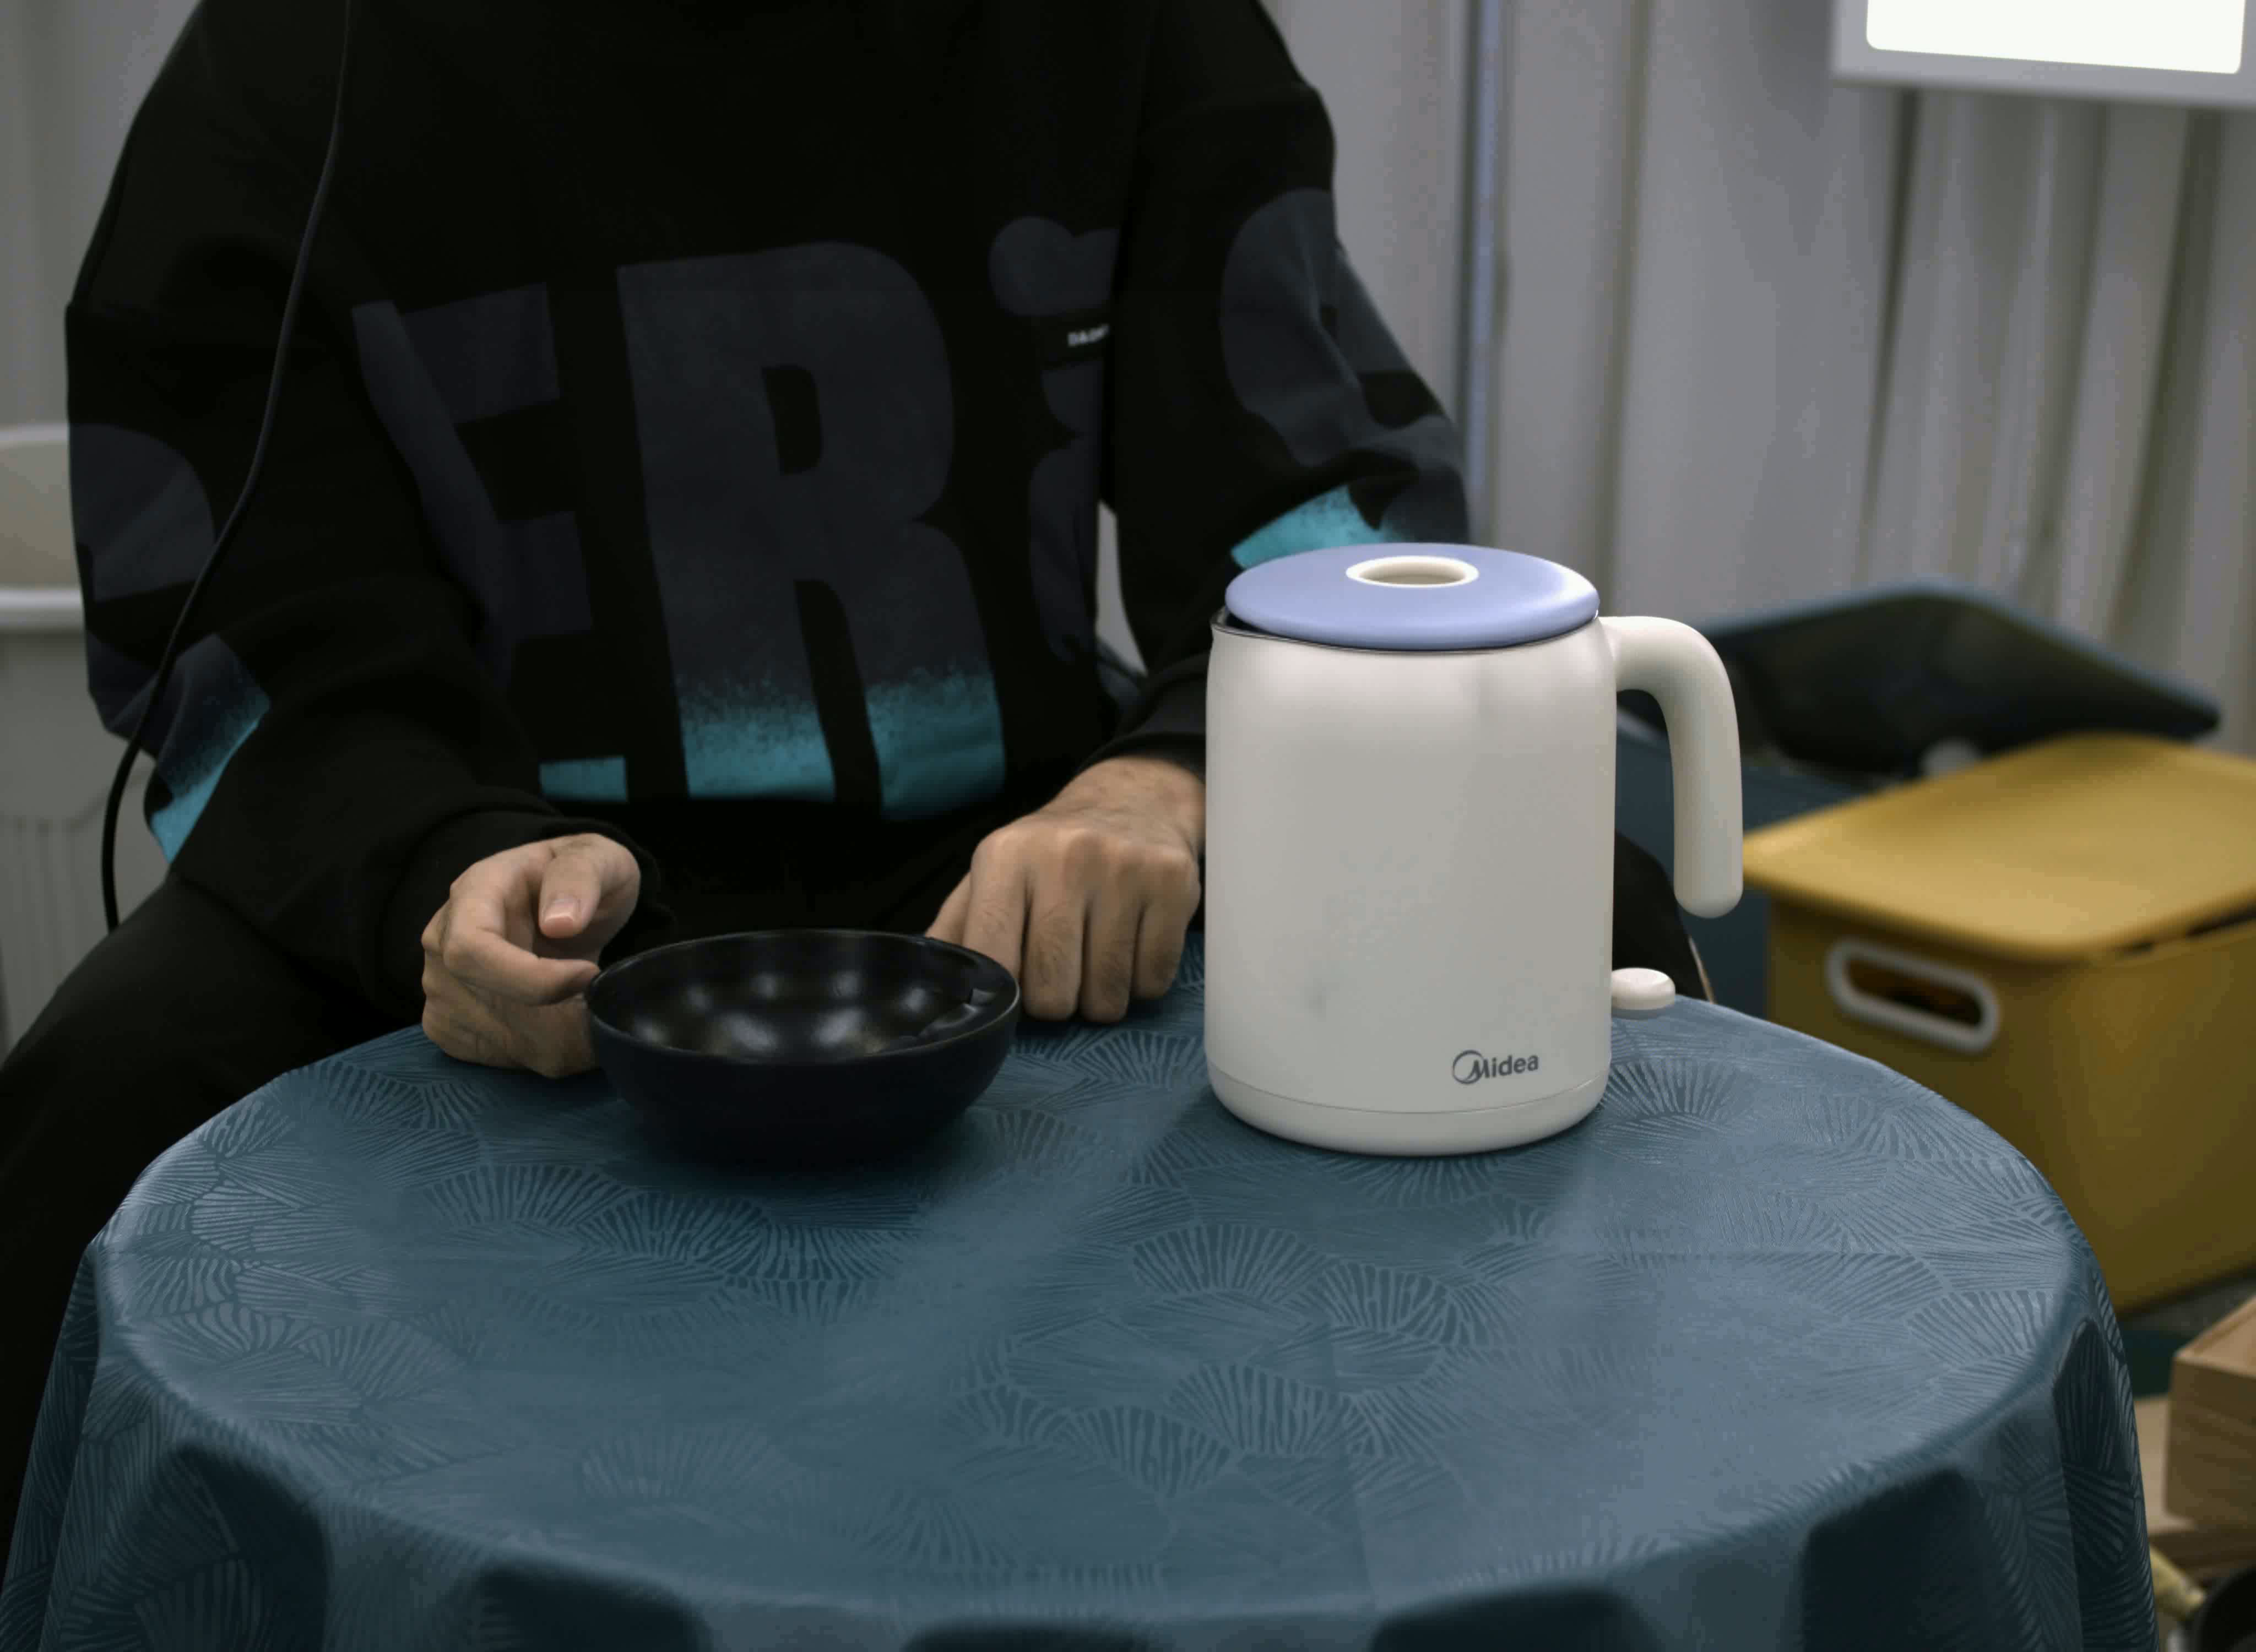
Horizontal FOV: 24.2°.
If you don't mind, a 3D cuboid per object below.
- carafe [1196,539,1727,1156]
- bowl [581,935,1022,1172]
[{"bbox_3d":[0.111,0.004,1.694,0.192,0.184,0.130,-5,18,-24],"label":"carafe"},{"bbox_3d":[-0.102,0.075,1.658,0.139,0.050,0.139,0,14,1],"label":"bowl"}]
